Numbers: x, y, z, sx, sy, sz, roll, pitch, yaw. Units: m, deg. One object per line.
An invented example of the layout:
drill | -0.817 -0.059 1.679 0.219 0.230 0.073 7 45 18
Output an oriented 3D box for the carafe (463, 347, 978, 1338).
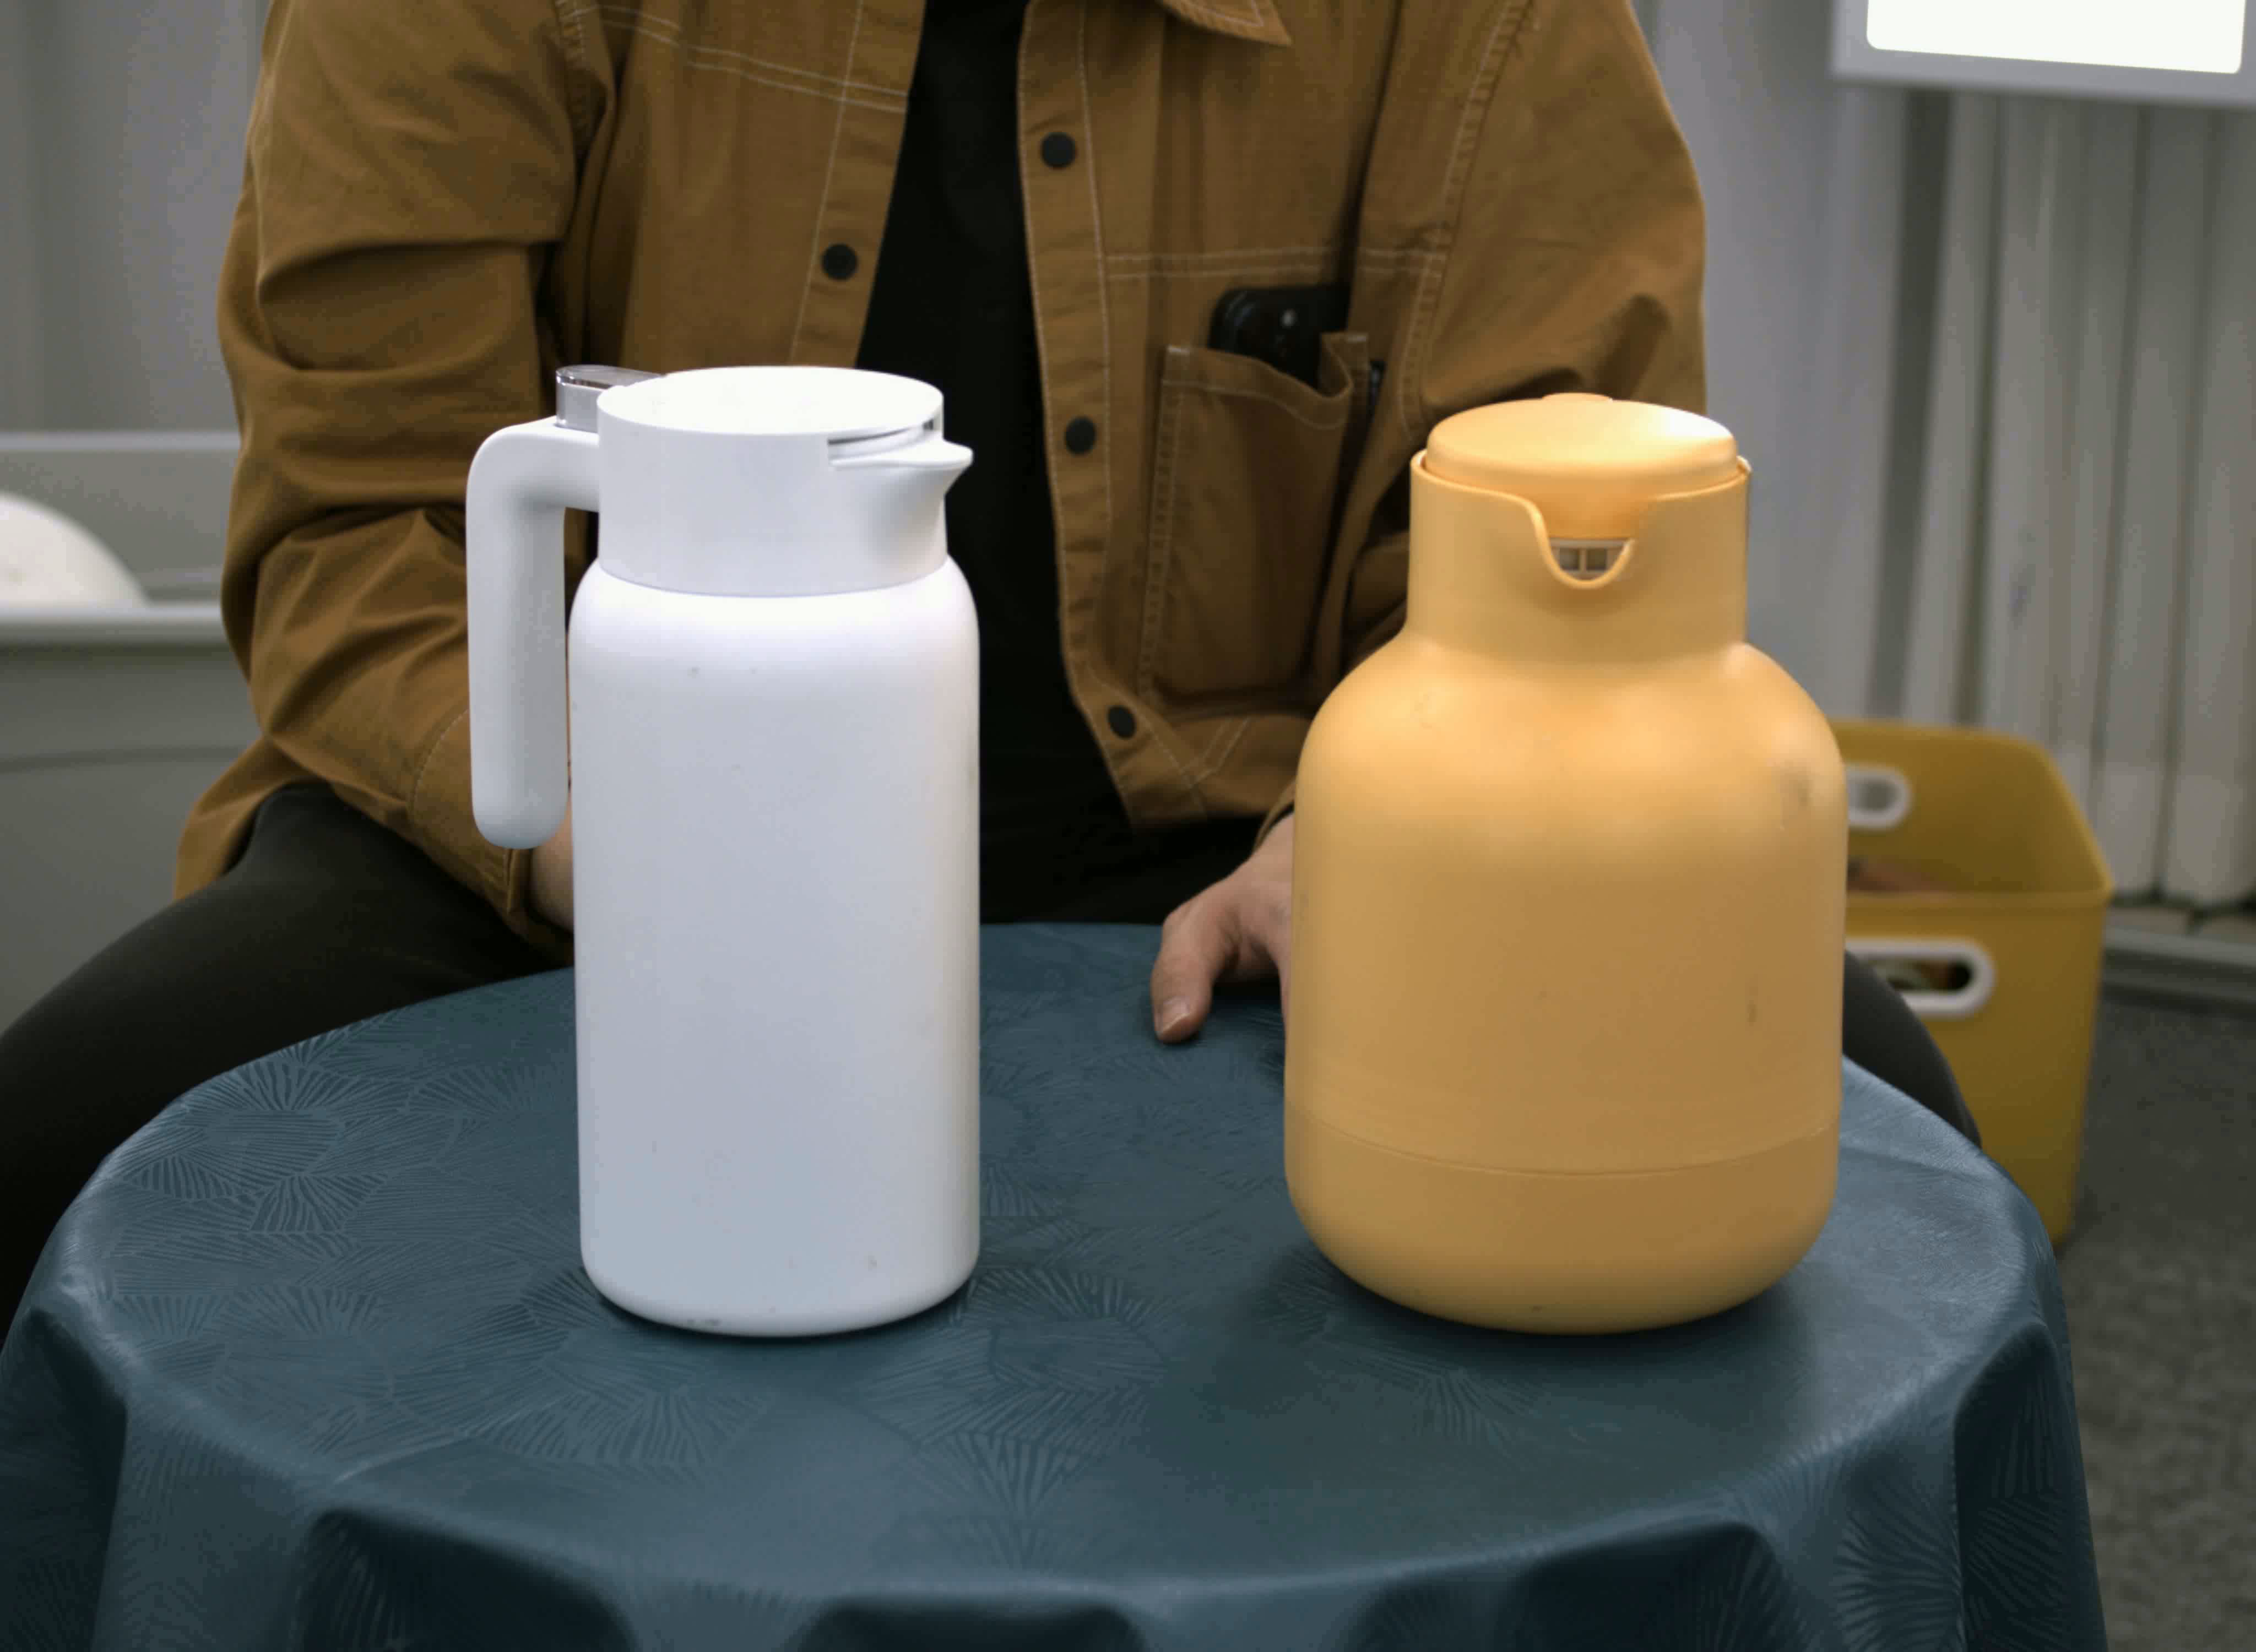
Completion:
carafe | -0.117 0.002 1.514 0.171 0.271 0.124 10 21 31

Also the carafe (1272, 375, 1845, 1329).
carafe | 0.129 -0.001 1.539 0.163 0.262 0.201 4 18 4
